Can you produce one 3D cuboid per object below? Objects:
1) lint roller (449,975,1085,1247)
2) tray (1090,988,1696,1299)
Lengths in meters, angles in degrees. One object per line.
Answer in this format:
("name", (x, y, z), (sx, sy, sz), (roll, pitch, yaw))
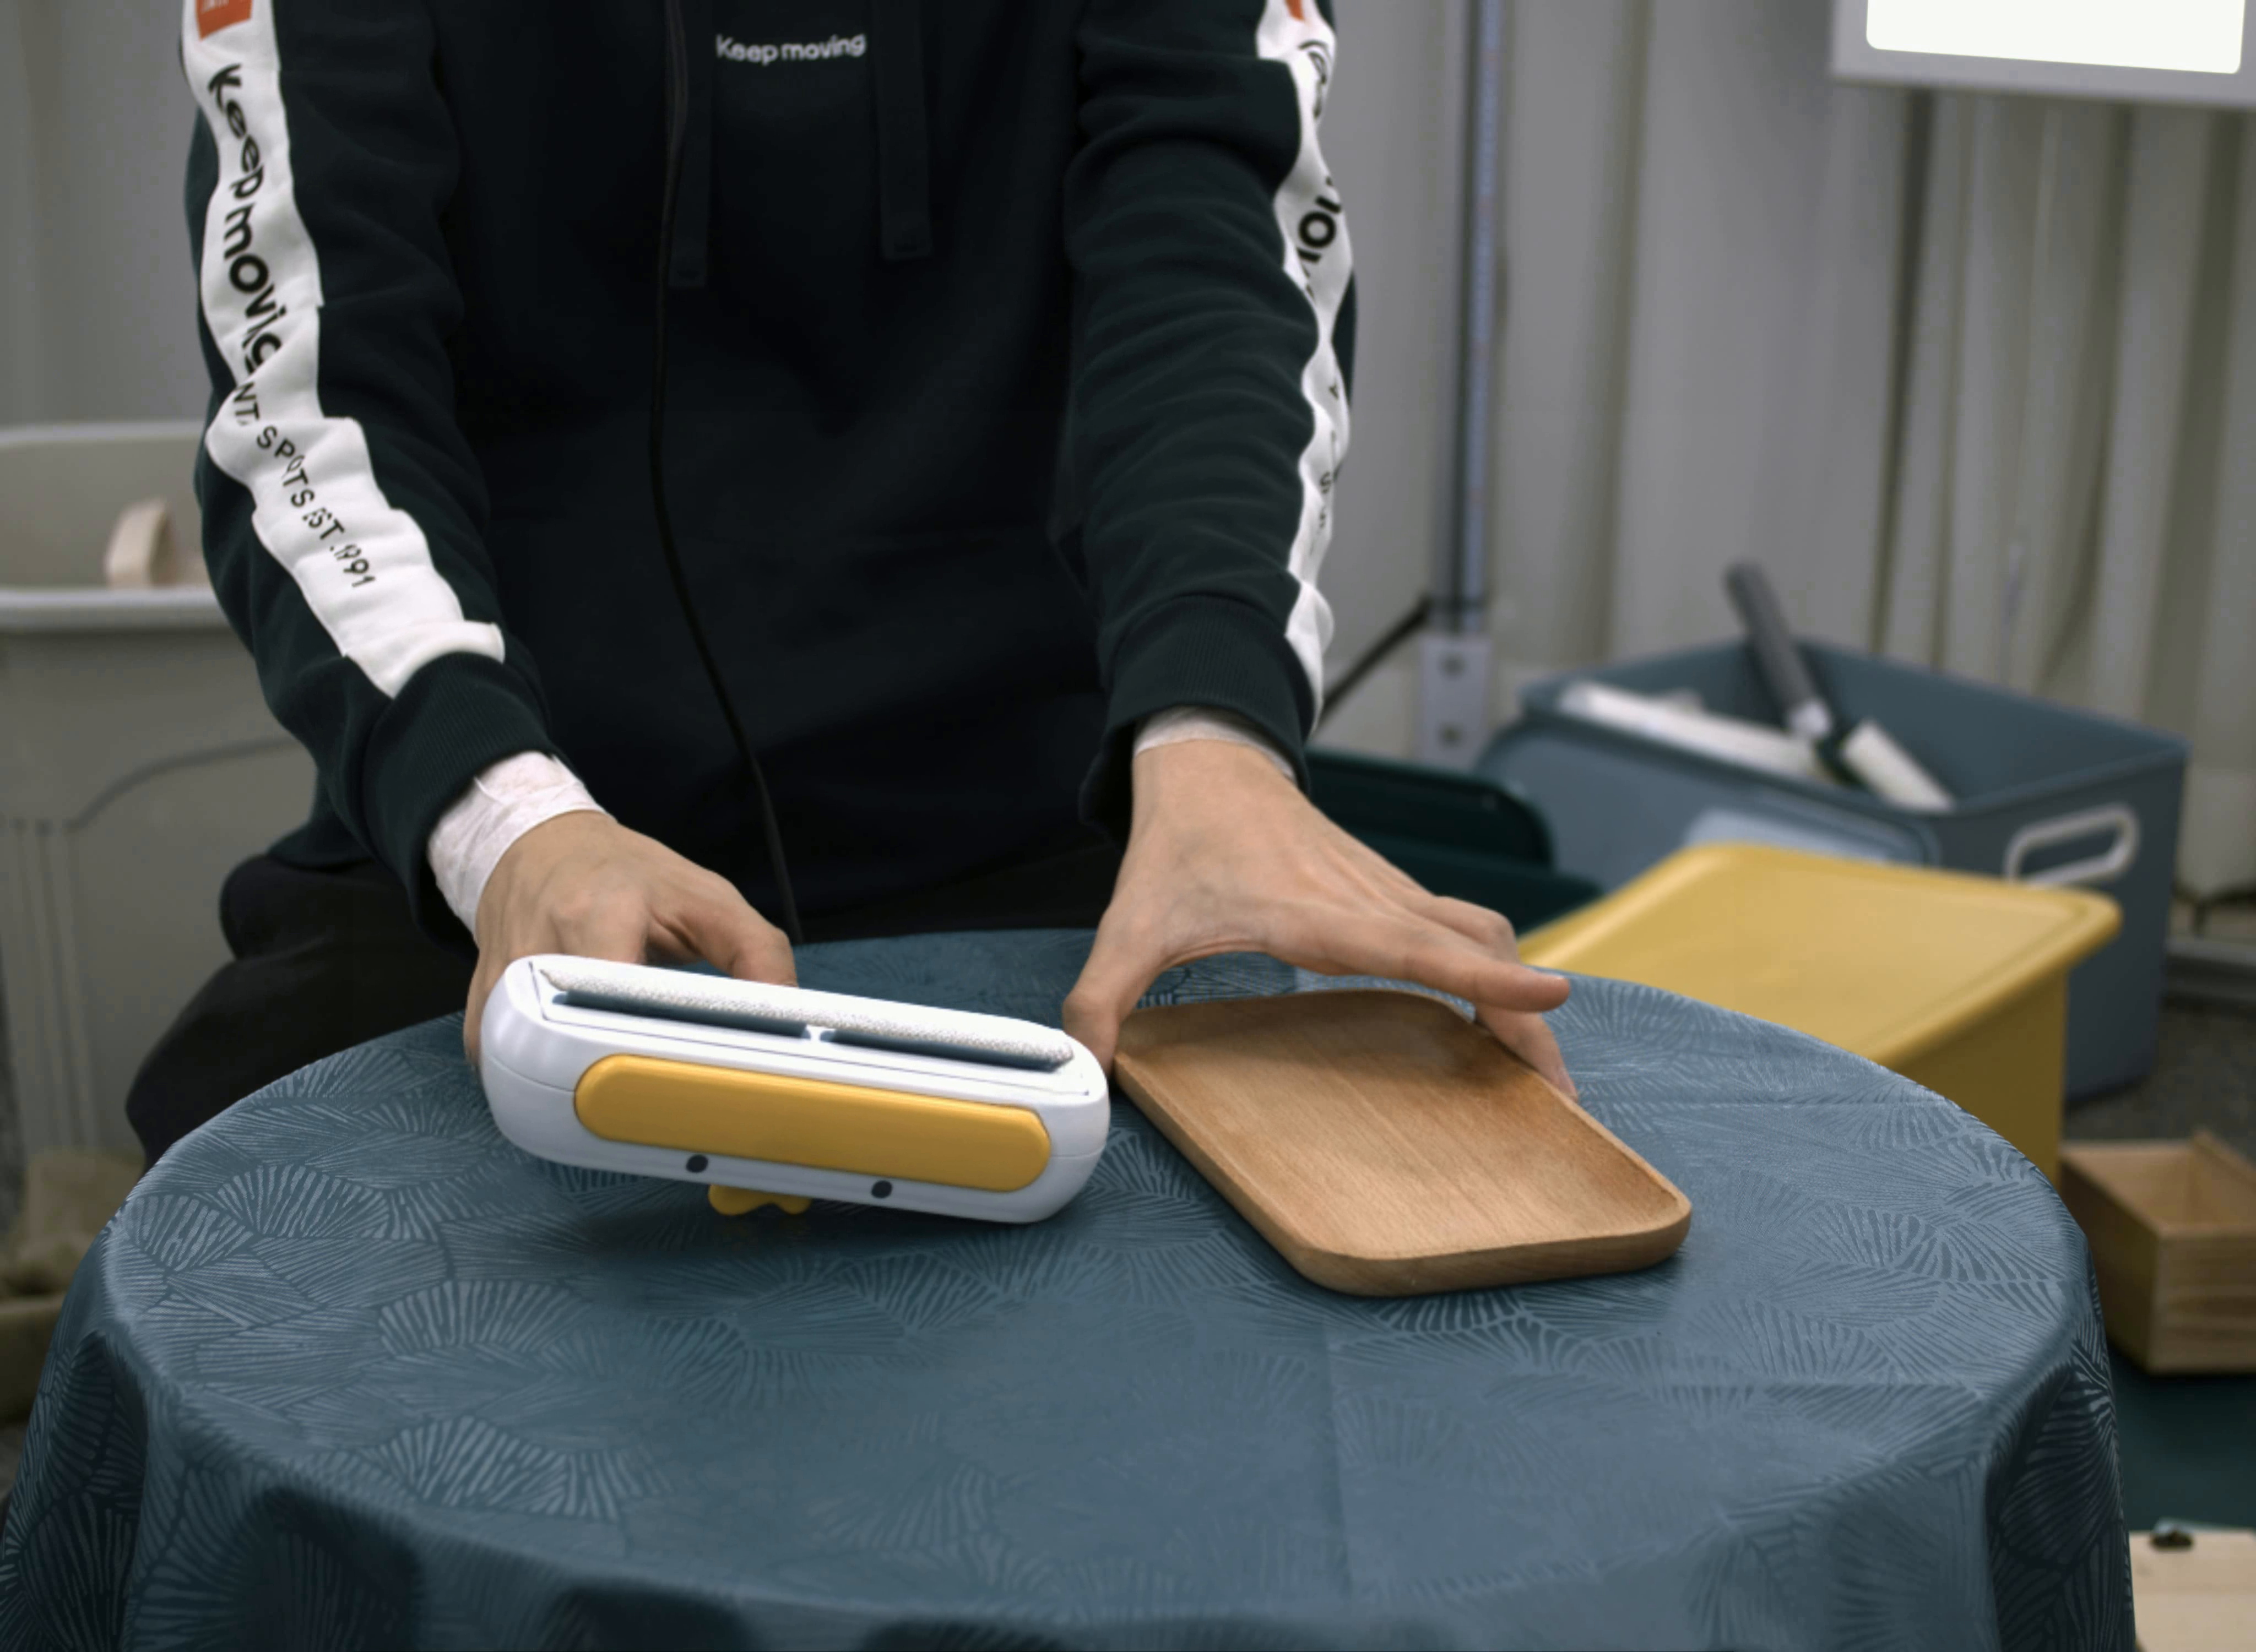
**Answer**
("lint roller", (-0.119, 0.090, 1.635), (0.193, 0.074, 0.191), (7, 0, -11))
("tray", (0.078, 0.096, 1.649), (0.131, 0.023, 0.248), (-2, 15, -17))
